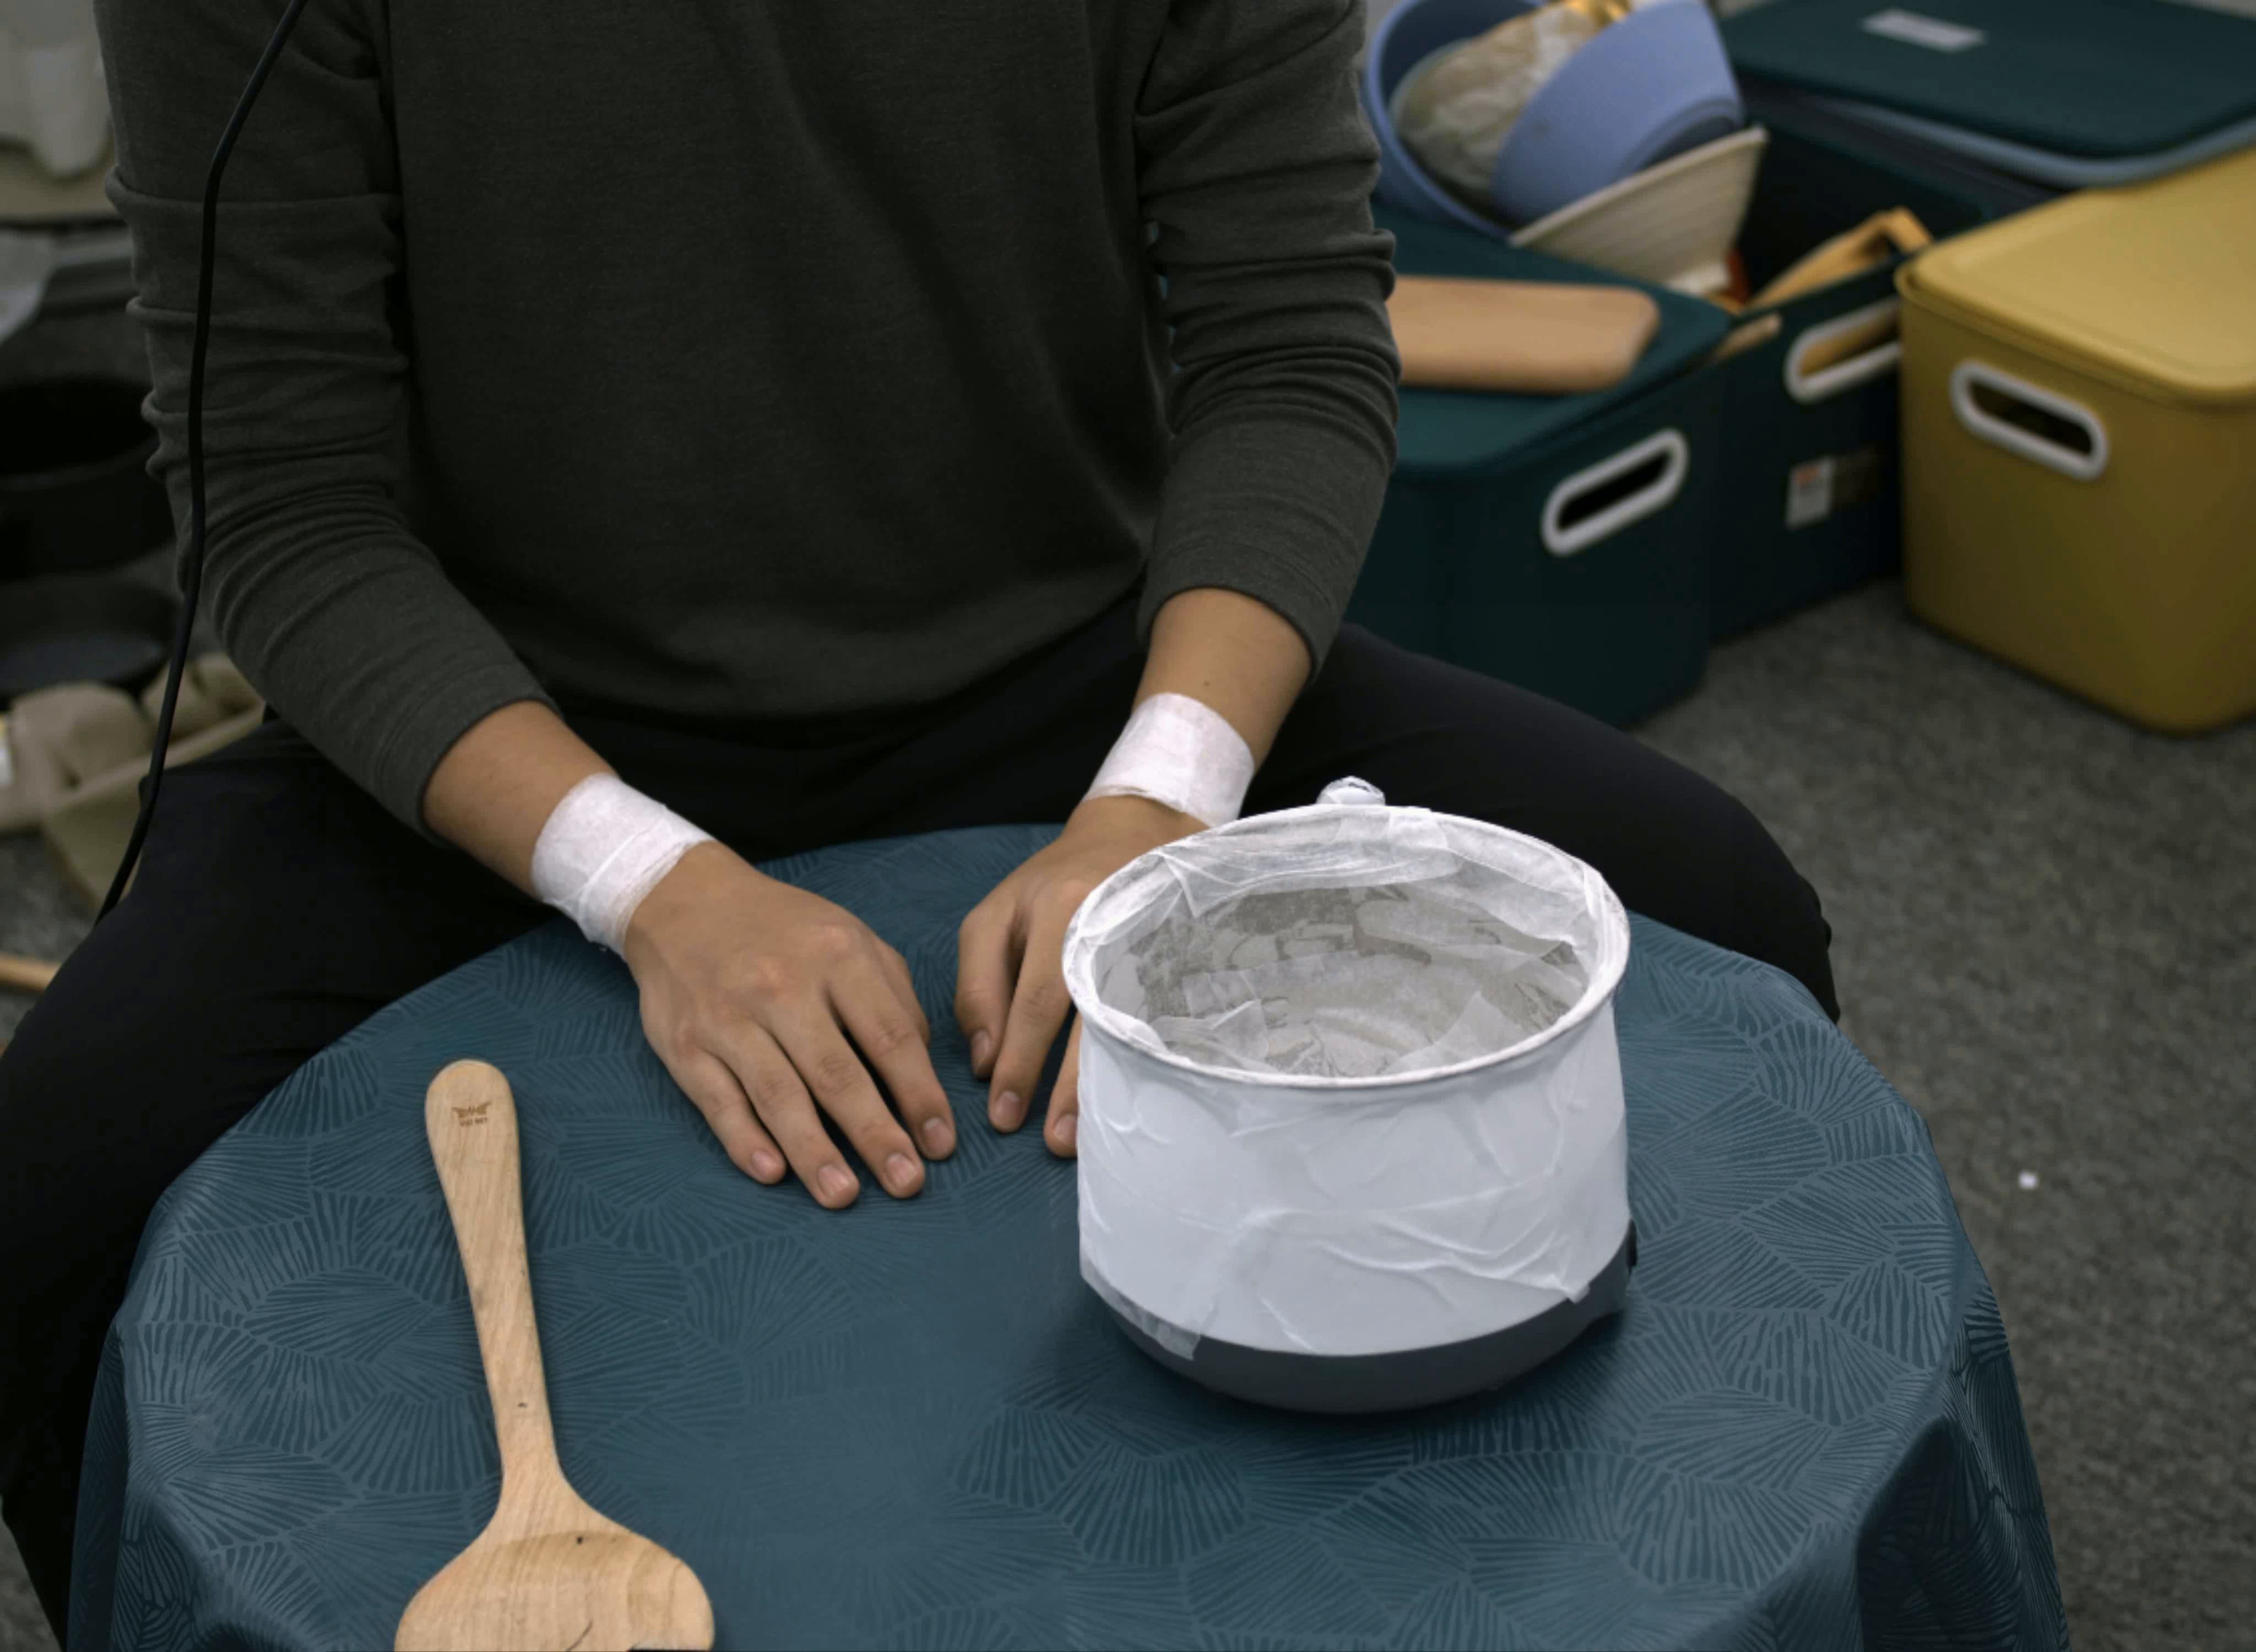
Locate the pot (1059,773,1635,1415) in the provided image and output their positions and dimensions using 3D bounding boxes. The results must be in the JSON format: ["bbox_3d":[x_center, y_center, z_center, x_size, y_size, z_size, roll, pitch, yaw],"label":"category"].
[{"bbox_3d":[0.071,0.078,1.793,0.178,0.135,0.237,-1,27,3],"label":"pot"}]

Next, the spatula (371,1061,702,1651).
[{"bbox_3d":[-0.201,0.169,1.770,0.095,0.018,0.395,-6,28,-9],"label":"spatula"}]
